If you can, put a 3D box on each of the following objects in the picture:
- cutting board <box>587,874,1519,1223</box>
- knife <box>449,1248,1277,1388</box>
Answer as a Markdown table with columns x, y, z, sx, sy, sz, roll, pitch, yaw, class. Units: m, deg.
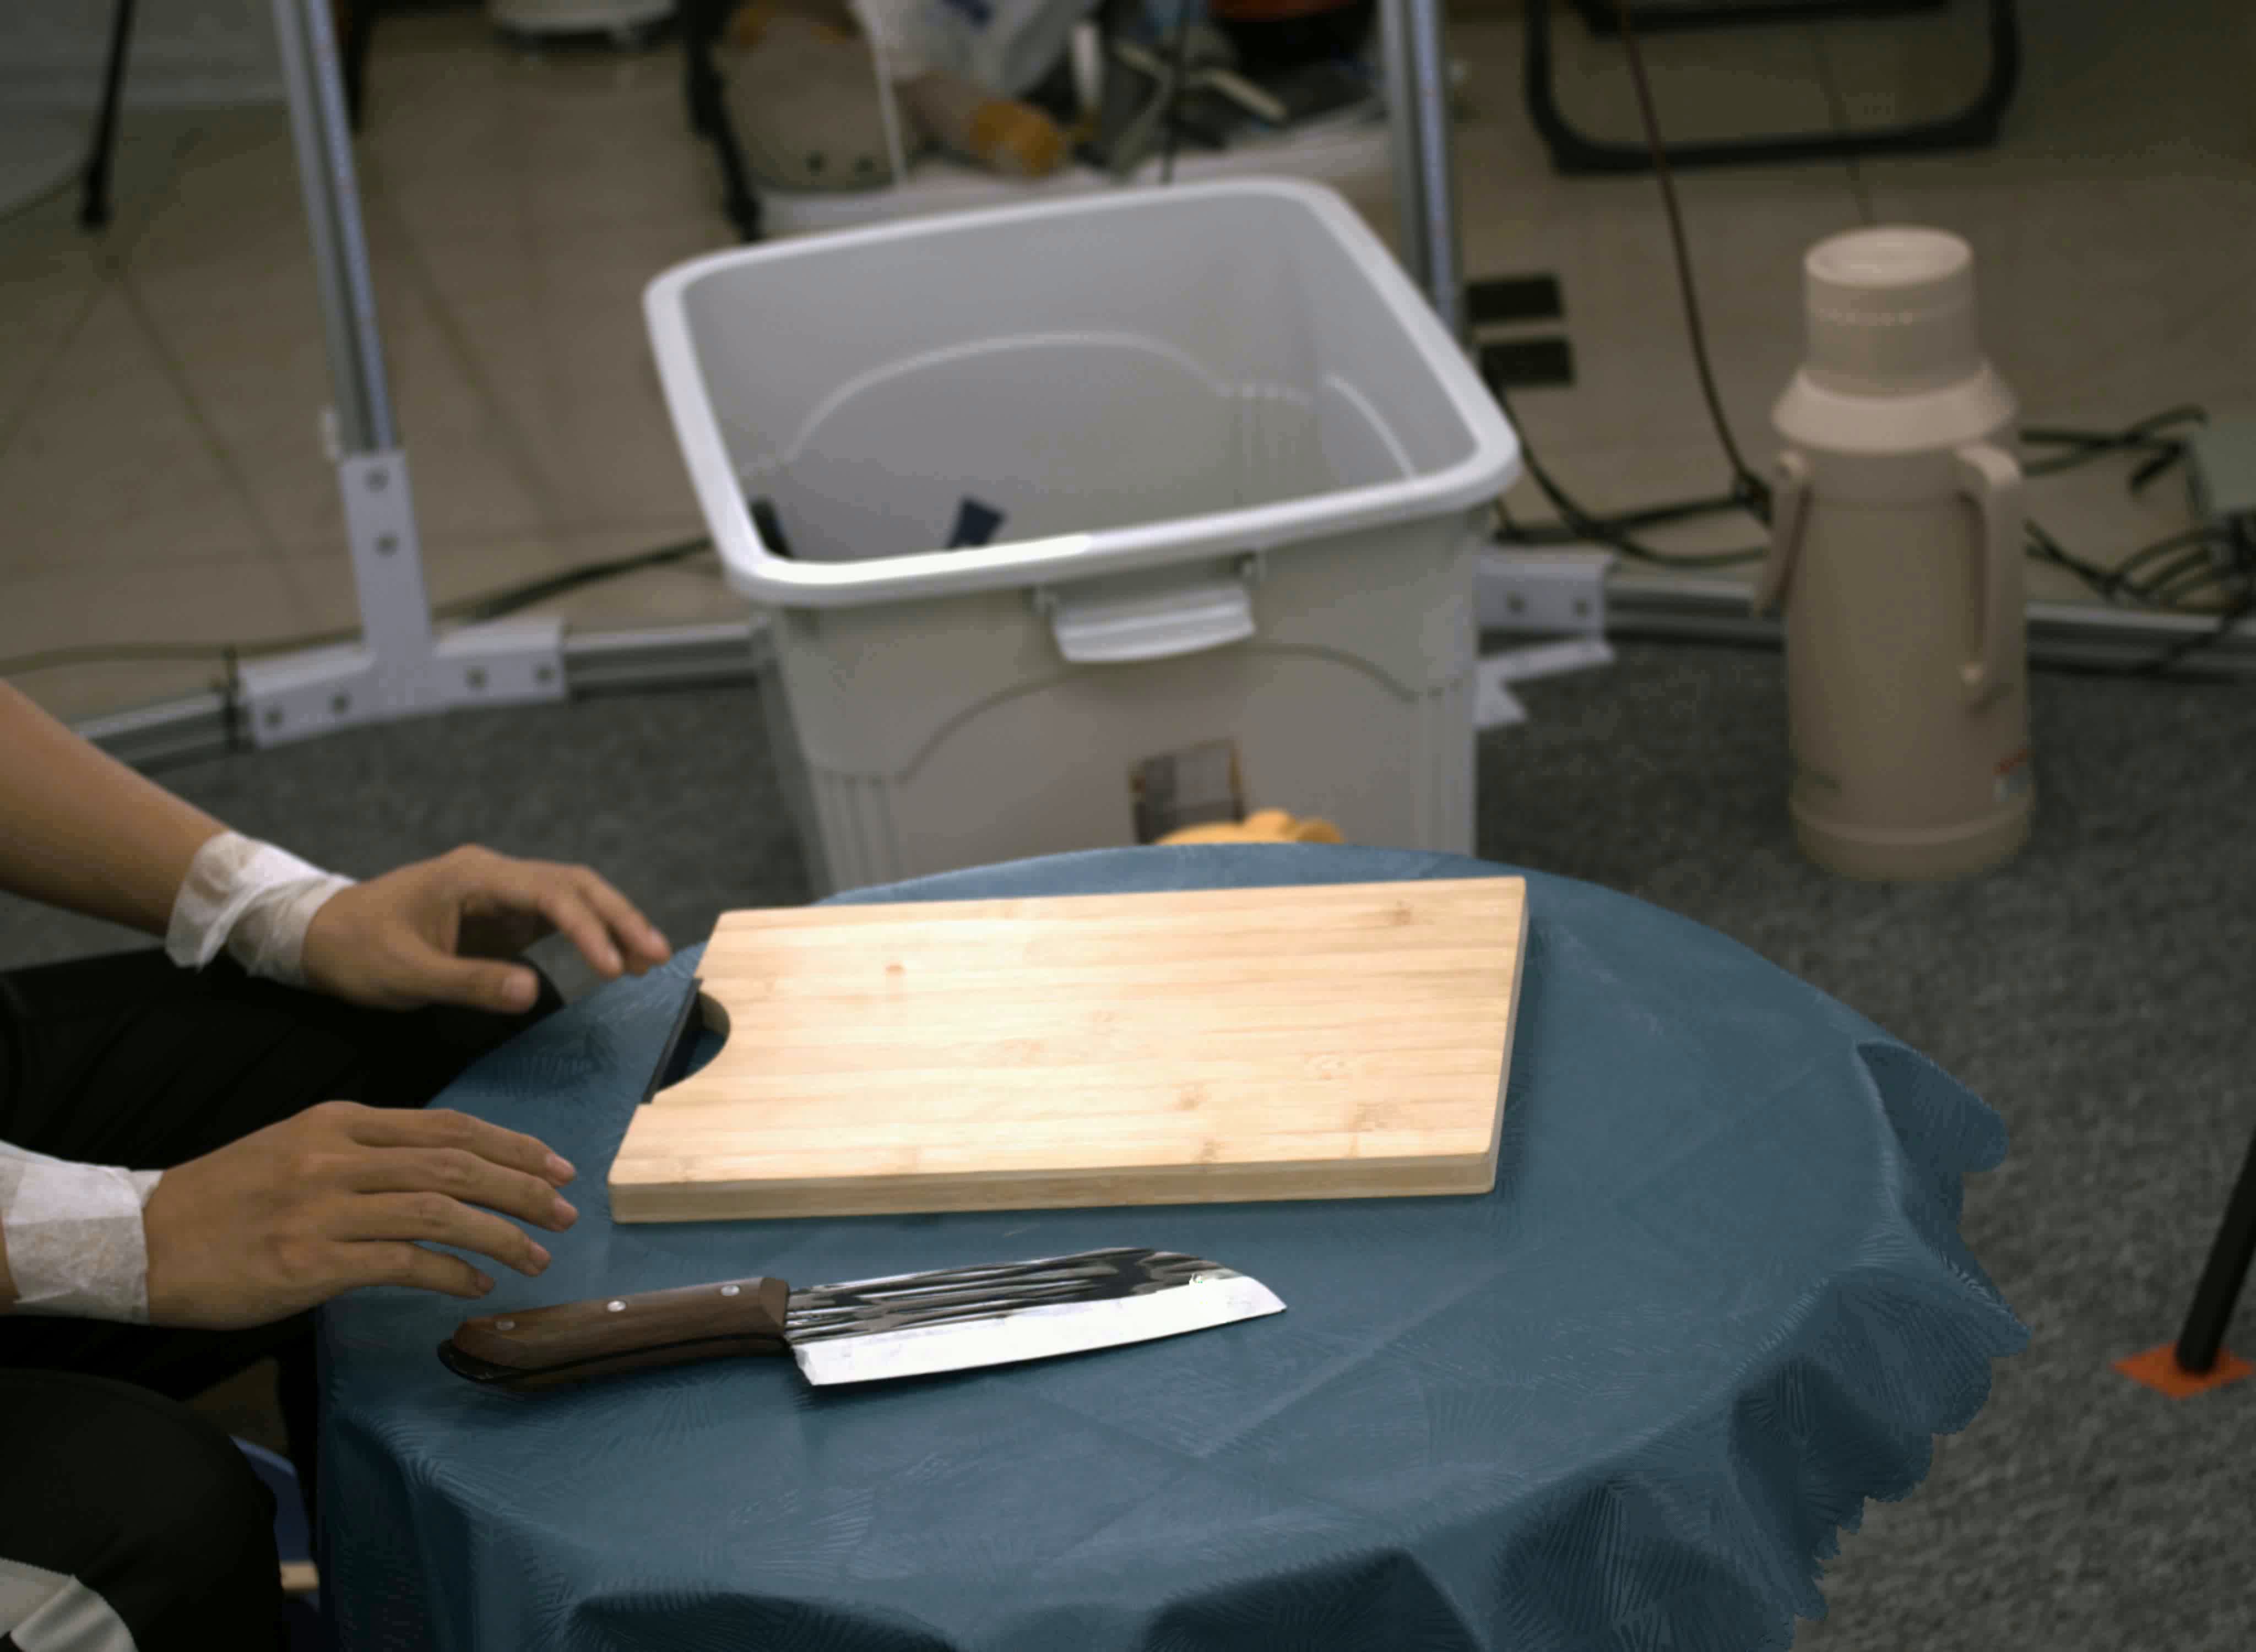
| x | y | z | sx | sy | sz | roll | pitch | yaw | class |
| --- | --- | --- | --- | --- | --- | --- | --- | --- | --- |
| -0.023 | 0.087 | 2.250 | 0.348 | 0.024 | 0.247 | -3 | 25 | 8 | cutting board |
| -0.096 | 0.181 | 2.061 | 0.299 | 0.024 | 0.067 | -6 | 27 | -6 | knife |
